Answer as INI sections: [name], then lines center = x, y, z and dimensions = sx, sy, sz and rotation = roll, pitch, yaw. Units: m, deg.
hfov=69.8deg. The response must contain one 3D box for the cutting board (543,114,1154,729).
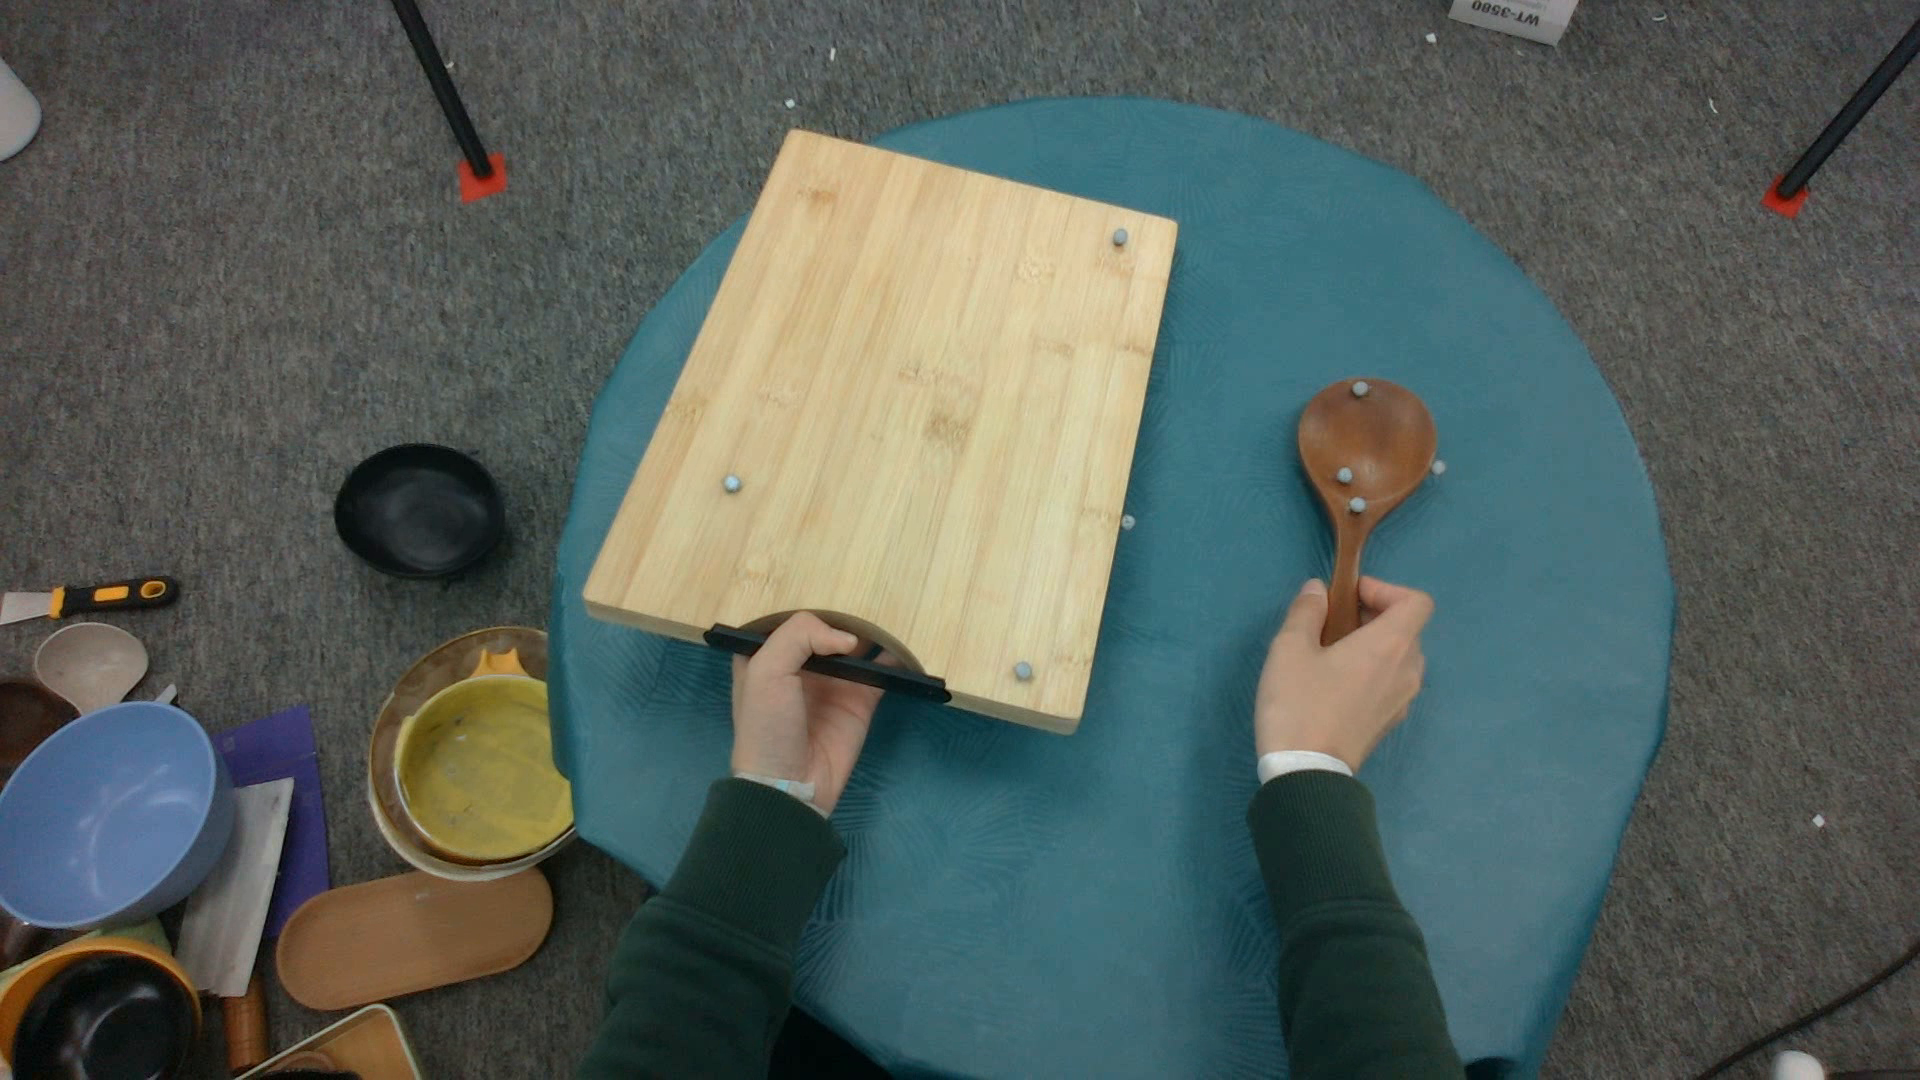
[cutting board]
center = -0.039, -0.082, 0.732
dimensions = 0.251, 0.023, 0.350
rotation = 12, 57, 1

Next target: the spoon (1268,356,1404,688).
[spoon]
center = 0.192, -0.015, 0.728
dimensions = 0.075, 0.017, 0.217
rotation = 13, 55, 7
